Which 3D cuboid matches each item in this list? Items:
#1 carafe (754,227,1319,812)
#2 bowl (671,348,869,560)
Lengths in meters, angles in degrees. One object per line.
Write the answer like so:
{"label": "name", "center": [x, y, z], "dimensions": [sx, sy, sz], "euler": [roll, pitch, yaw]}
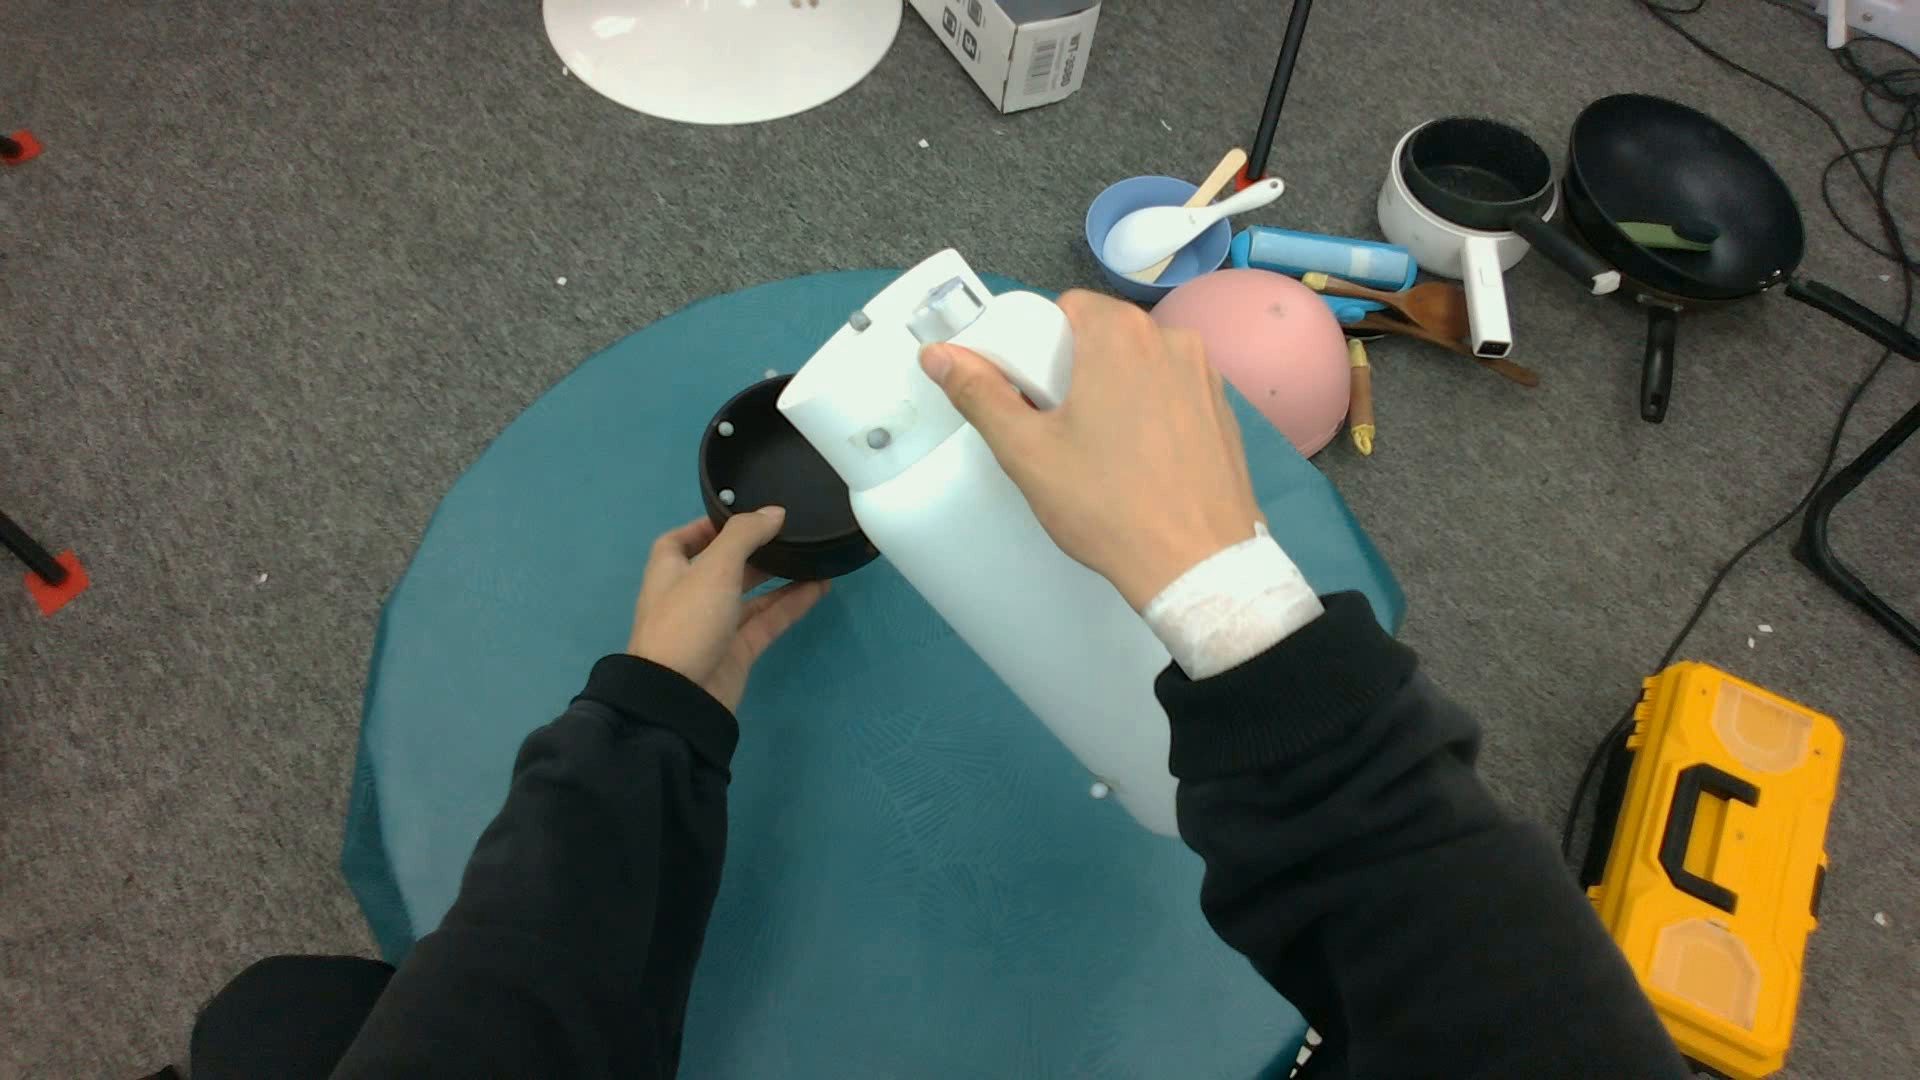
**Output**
{"label": "carafe", "center": [0.046, -0.008, 0.595], "dimensions": [0.268, 0.172, 0.124], "euler": [49, 64, -17]}
{"label": "bowl", "center": [-0.096, -0.040, 0.755], "dimensions": [0.118, 0.069, 0.118], "euler": [2, 58, -4]}
